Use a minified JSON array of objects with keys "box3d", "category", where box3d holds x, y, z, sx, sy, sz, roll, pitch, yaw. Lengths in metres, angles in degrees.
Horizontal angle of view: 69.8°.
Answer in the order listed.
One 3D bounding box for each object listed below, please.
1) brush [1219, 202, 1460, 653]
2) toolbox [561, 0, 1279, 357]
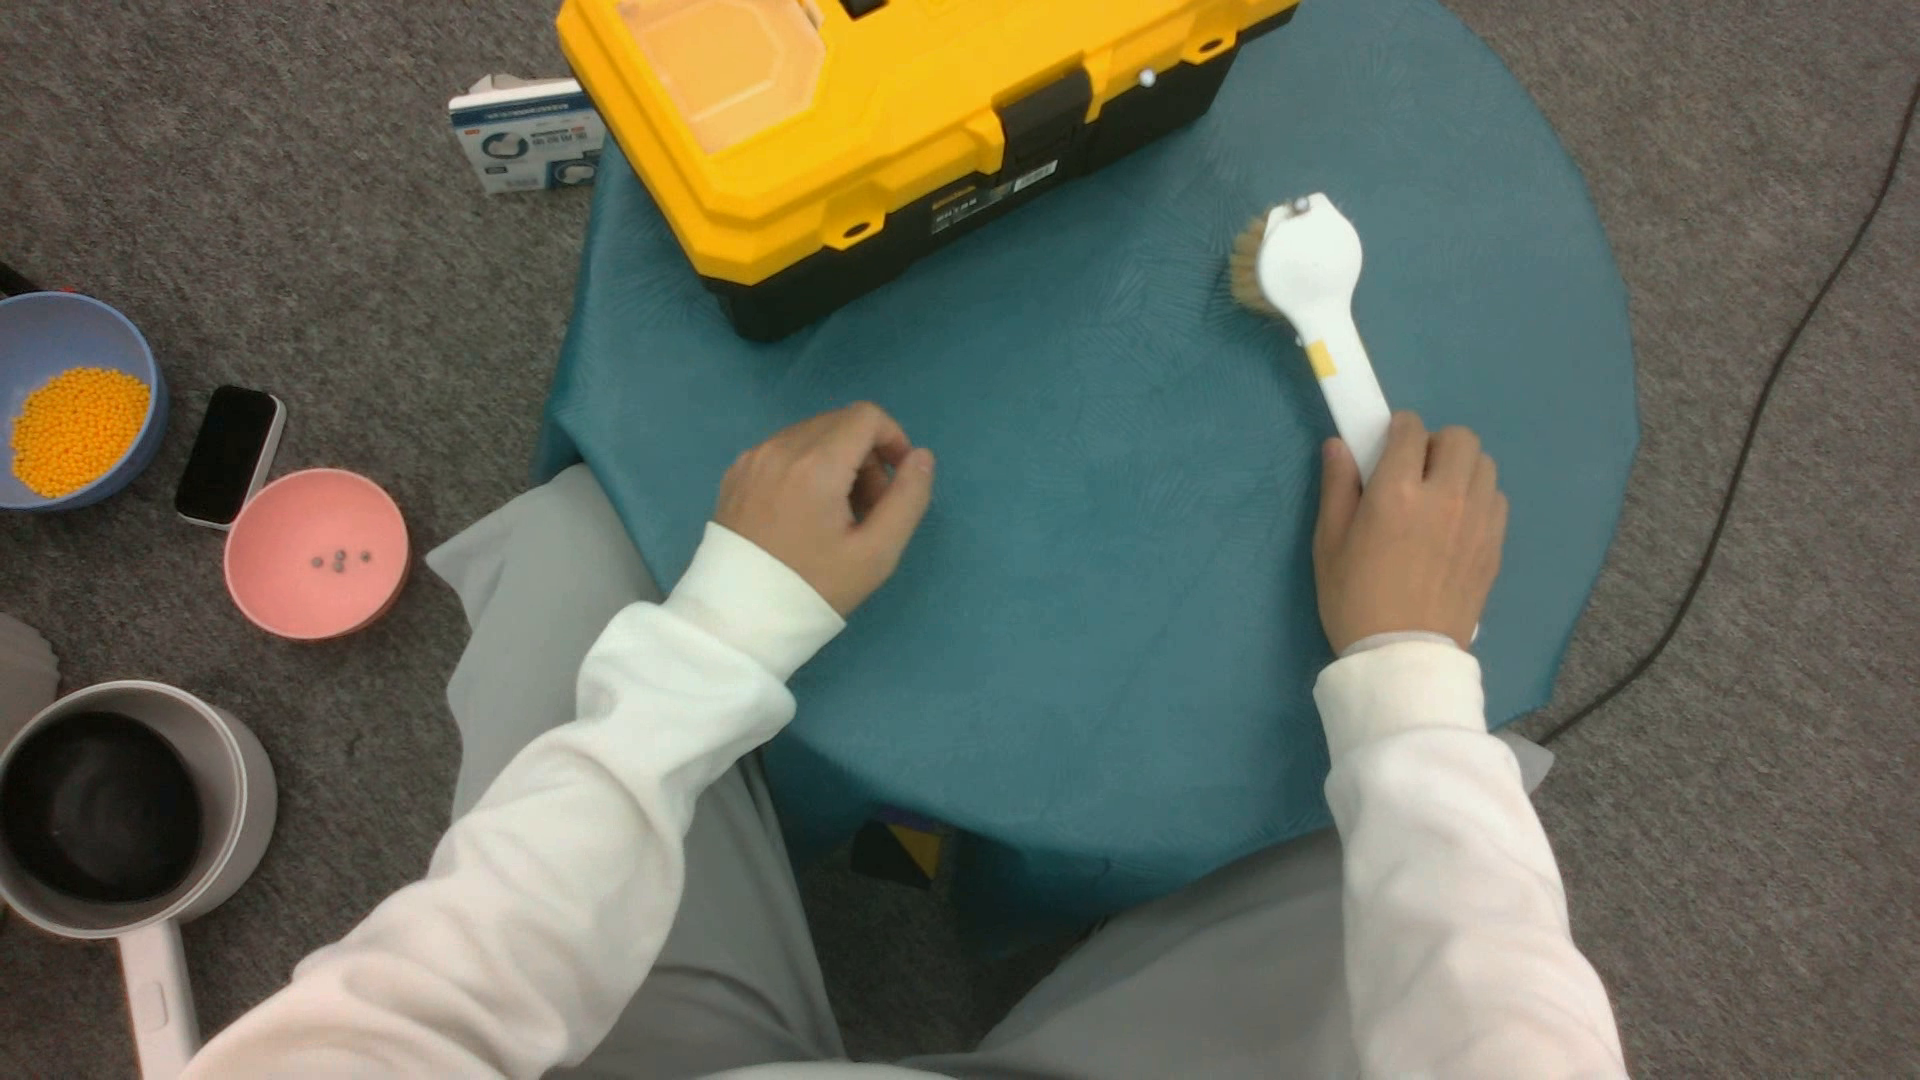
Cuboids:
[{"box3d":[0.218,-0.064,0.779,0.068,0.056,0.266,-22,92,8],"category":"brush"},{"box3d":[-0.012,-0.250,0.732,0.352,0.172,0.181,-31,78,-11],"category":"toolbox"}]
